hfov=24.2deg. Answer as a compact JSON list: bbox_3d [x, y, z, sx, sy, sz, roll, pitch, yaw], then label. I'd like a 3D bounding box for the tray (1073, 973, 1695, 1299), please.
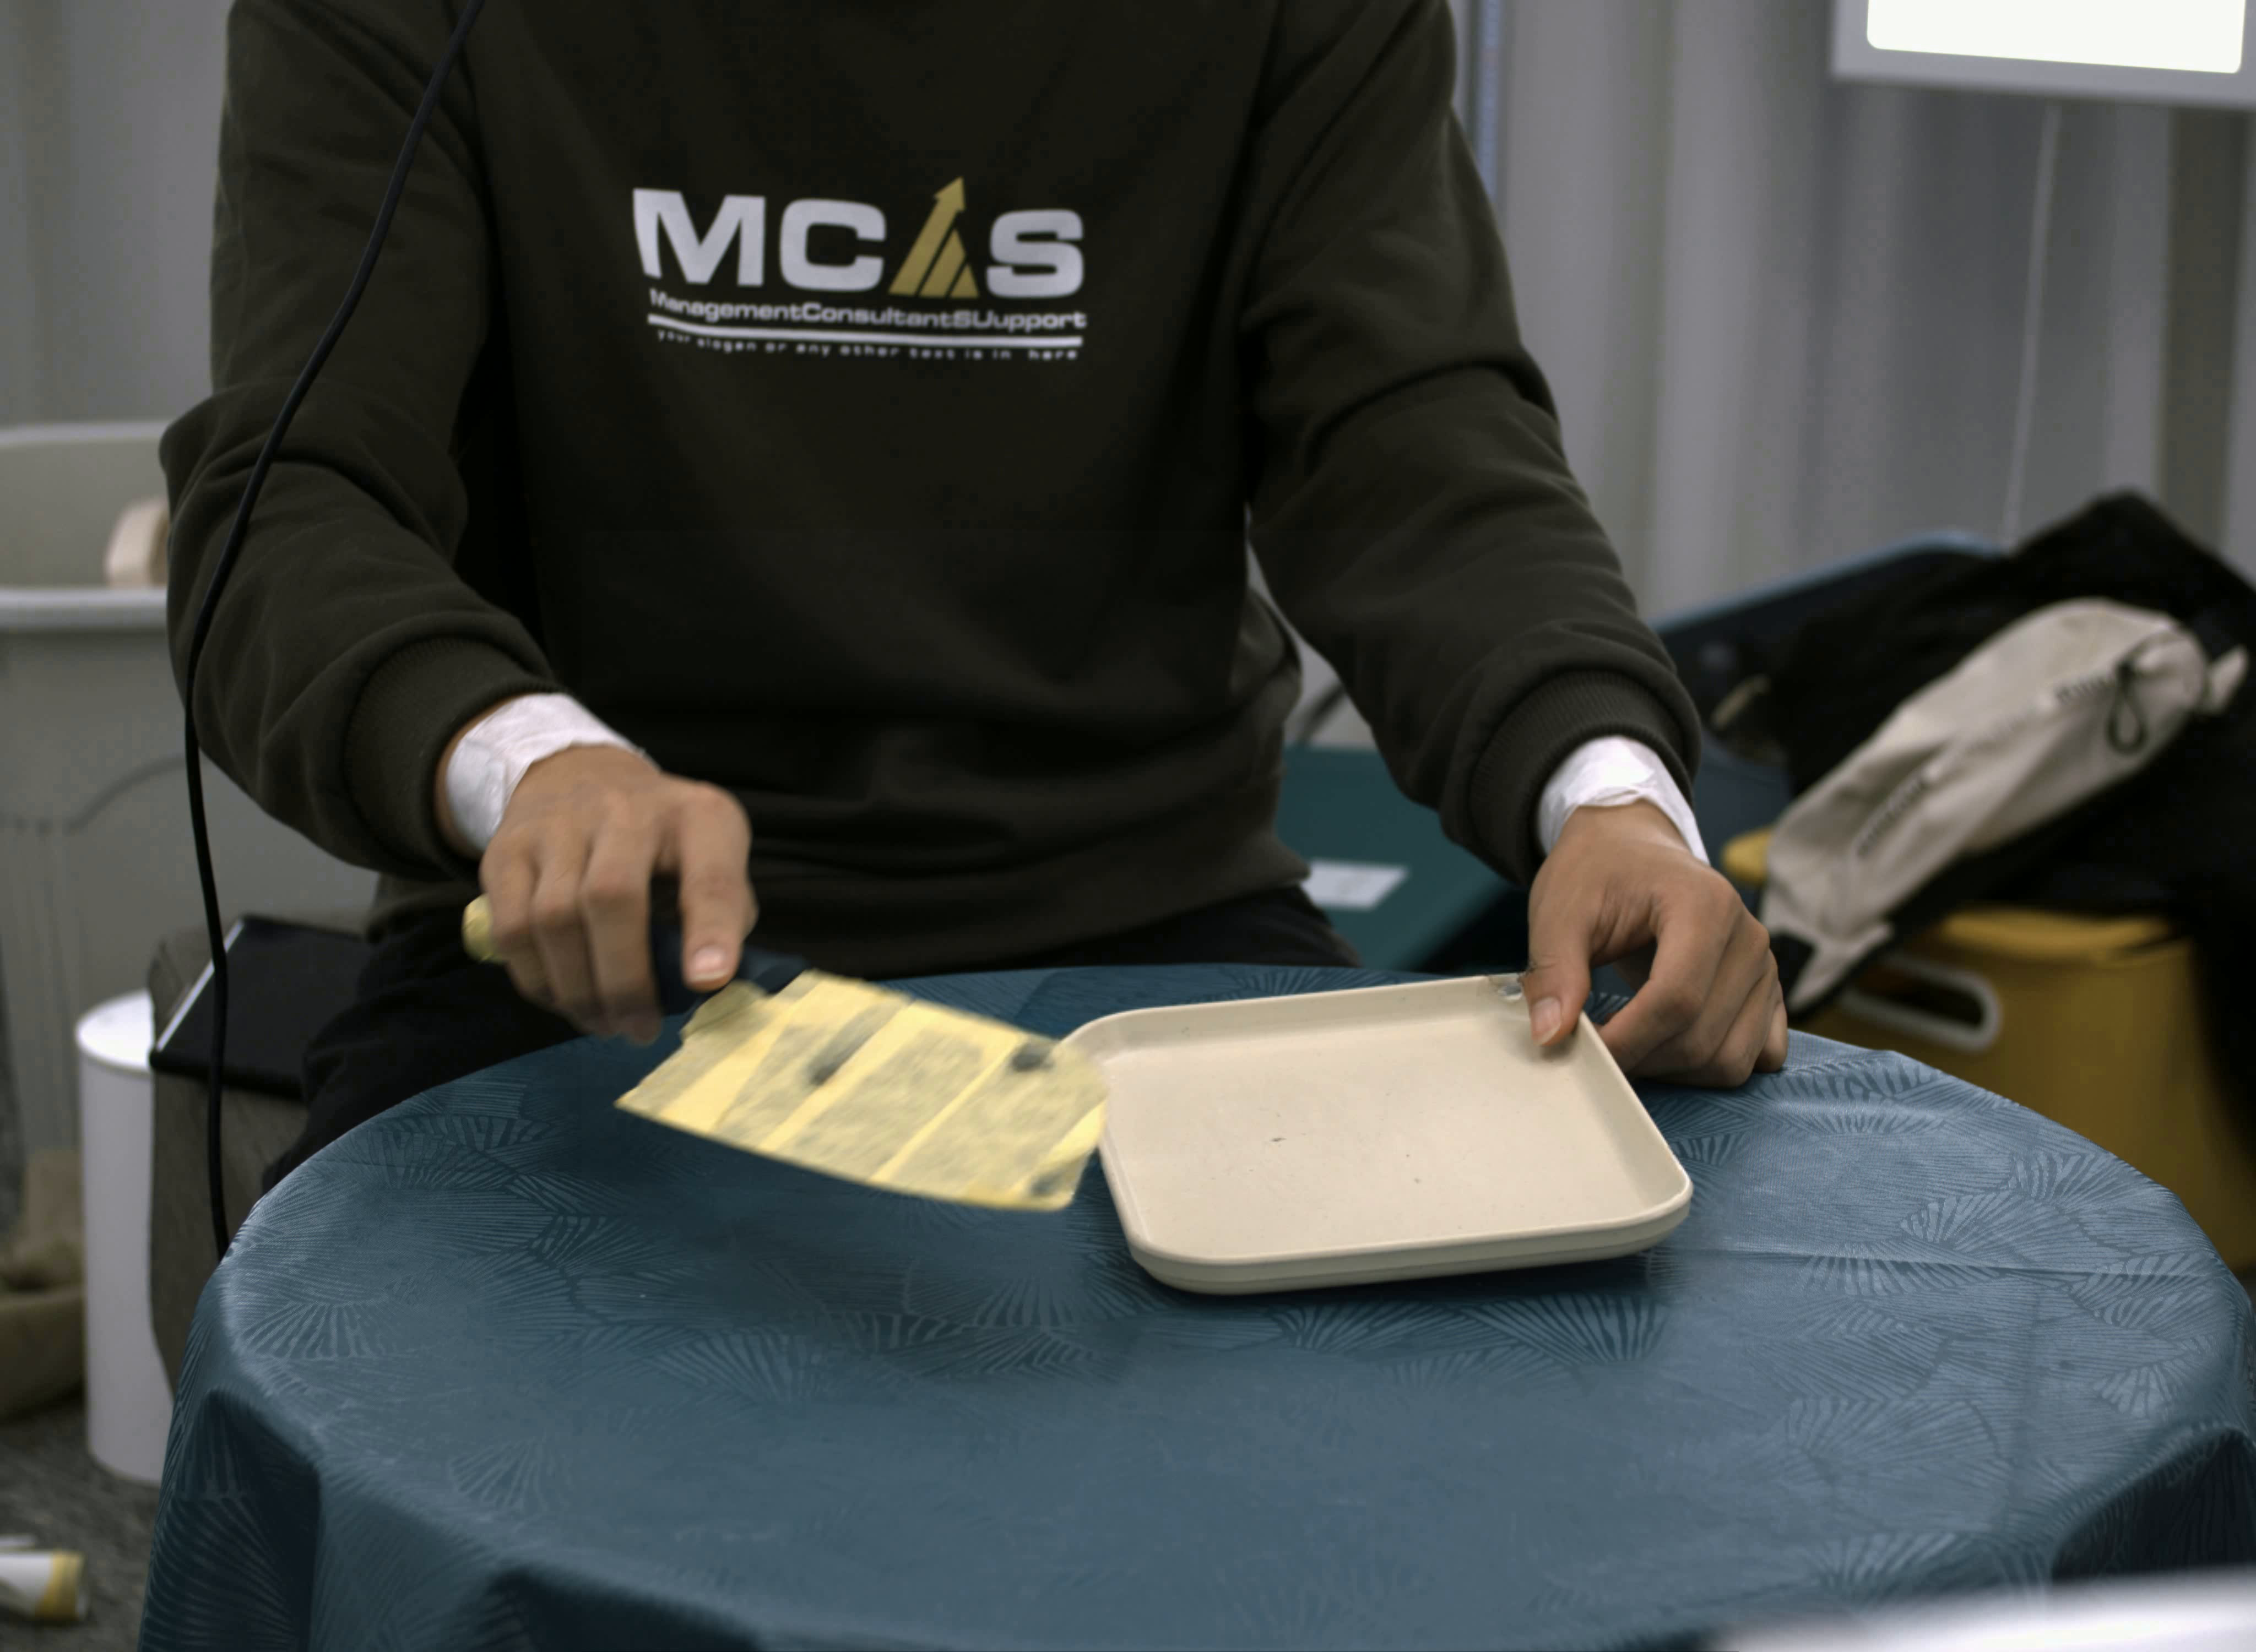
[{"bbox_3d":[0.074,0.095,1.639,0.171,0.017,0.238,-6,17,-5],"label":"tray"}]

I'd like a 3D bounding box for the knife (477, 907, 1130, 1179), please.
[{"bbox_3d":[-0.105,0.063,1.552,0.285,0.027,0.081,13,43,44],"label":"knife"}]
